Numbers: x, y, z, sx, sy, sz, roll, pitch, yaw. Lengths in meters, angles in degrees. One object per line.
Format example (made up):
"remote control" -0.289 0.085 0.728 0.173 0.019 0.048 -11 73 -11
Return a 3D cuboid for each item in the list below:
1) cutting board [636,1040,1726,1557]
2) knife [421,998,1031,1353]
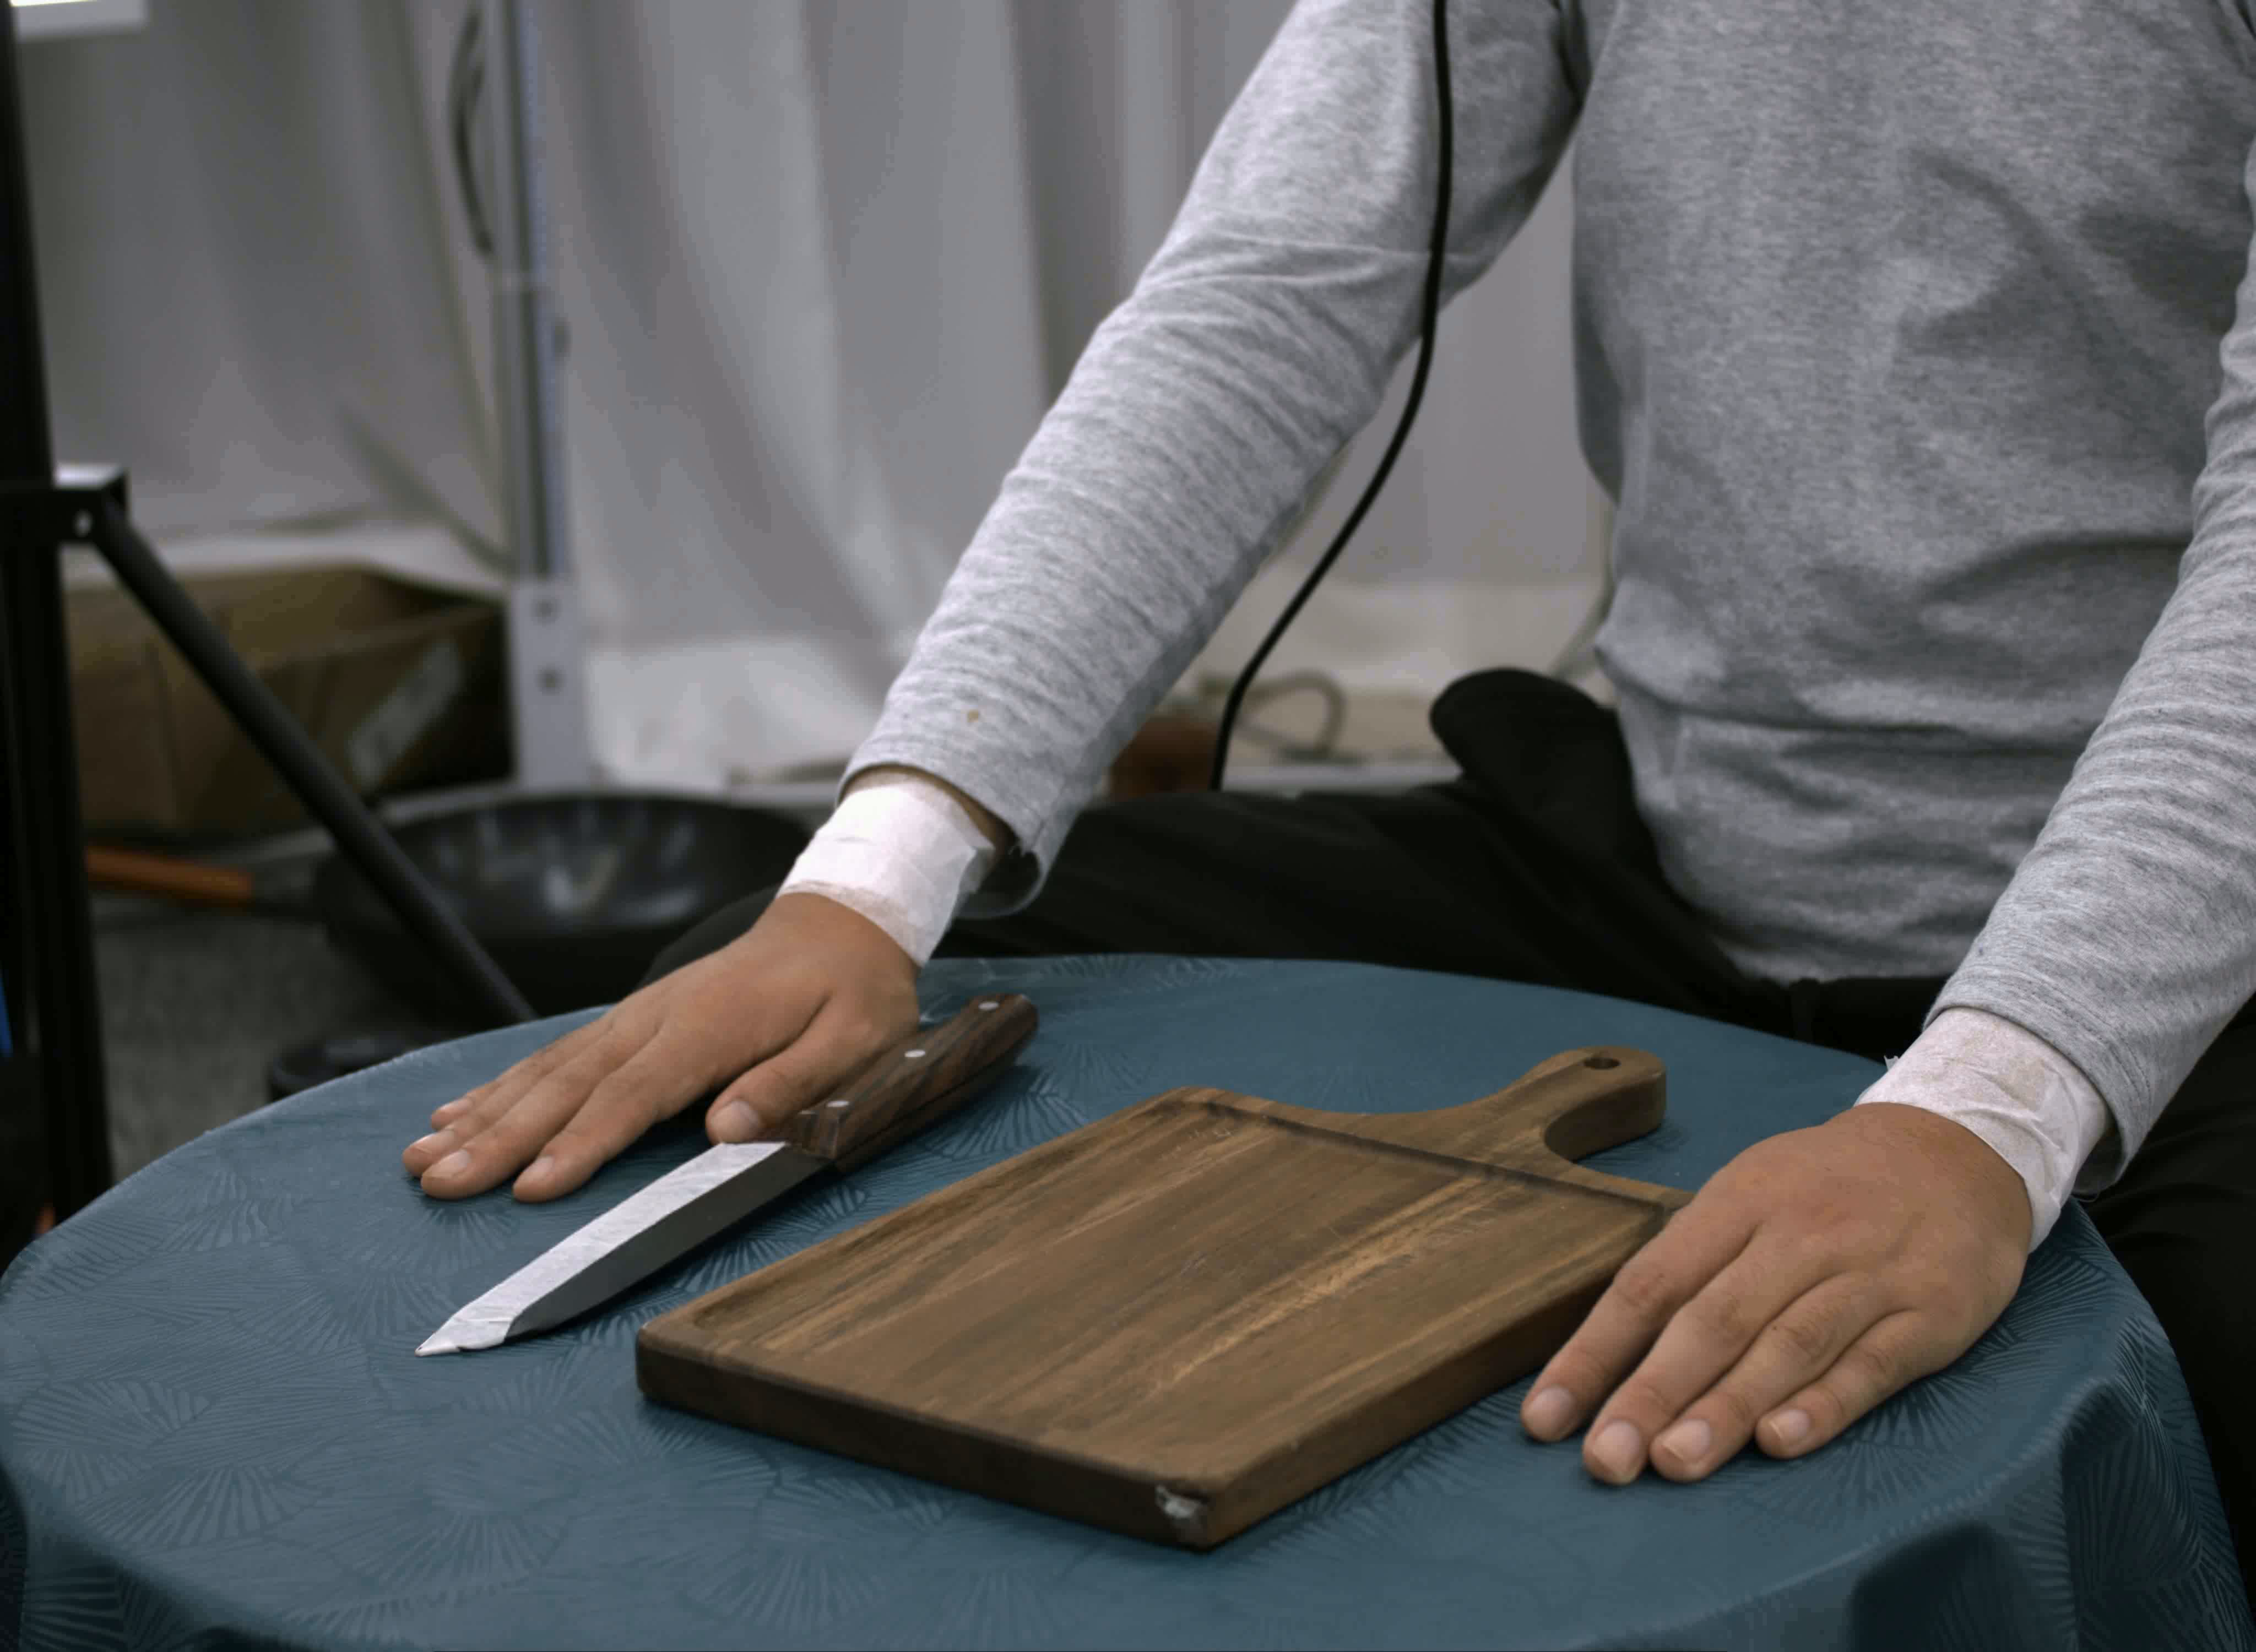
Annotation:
"cutting board" 0.049 0.117 1.485 0.205 0.023 0.344 11 20 37
"knife" -0.113 0.103 1.569 0.051 0.020 0.284 2 18 34
